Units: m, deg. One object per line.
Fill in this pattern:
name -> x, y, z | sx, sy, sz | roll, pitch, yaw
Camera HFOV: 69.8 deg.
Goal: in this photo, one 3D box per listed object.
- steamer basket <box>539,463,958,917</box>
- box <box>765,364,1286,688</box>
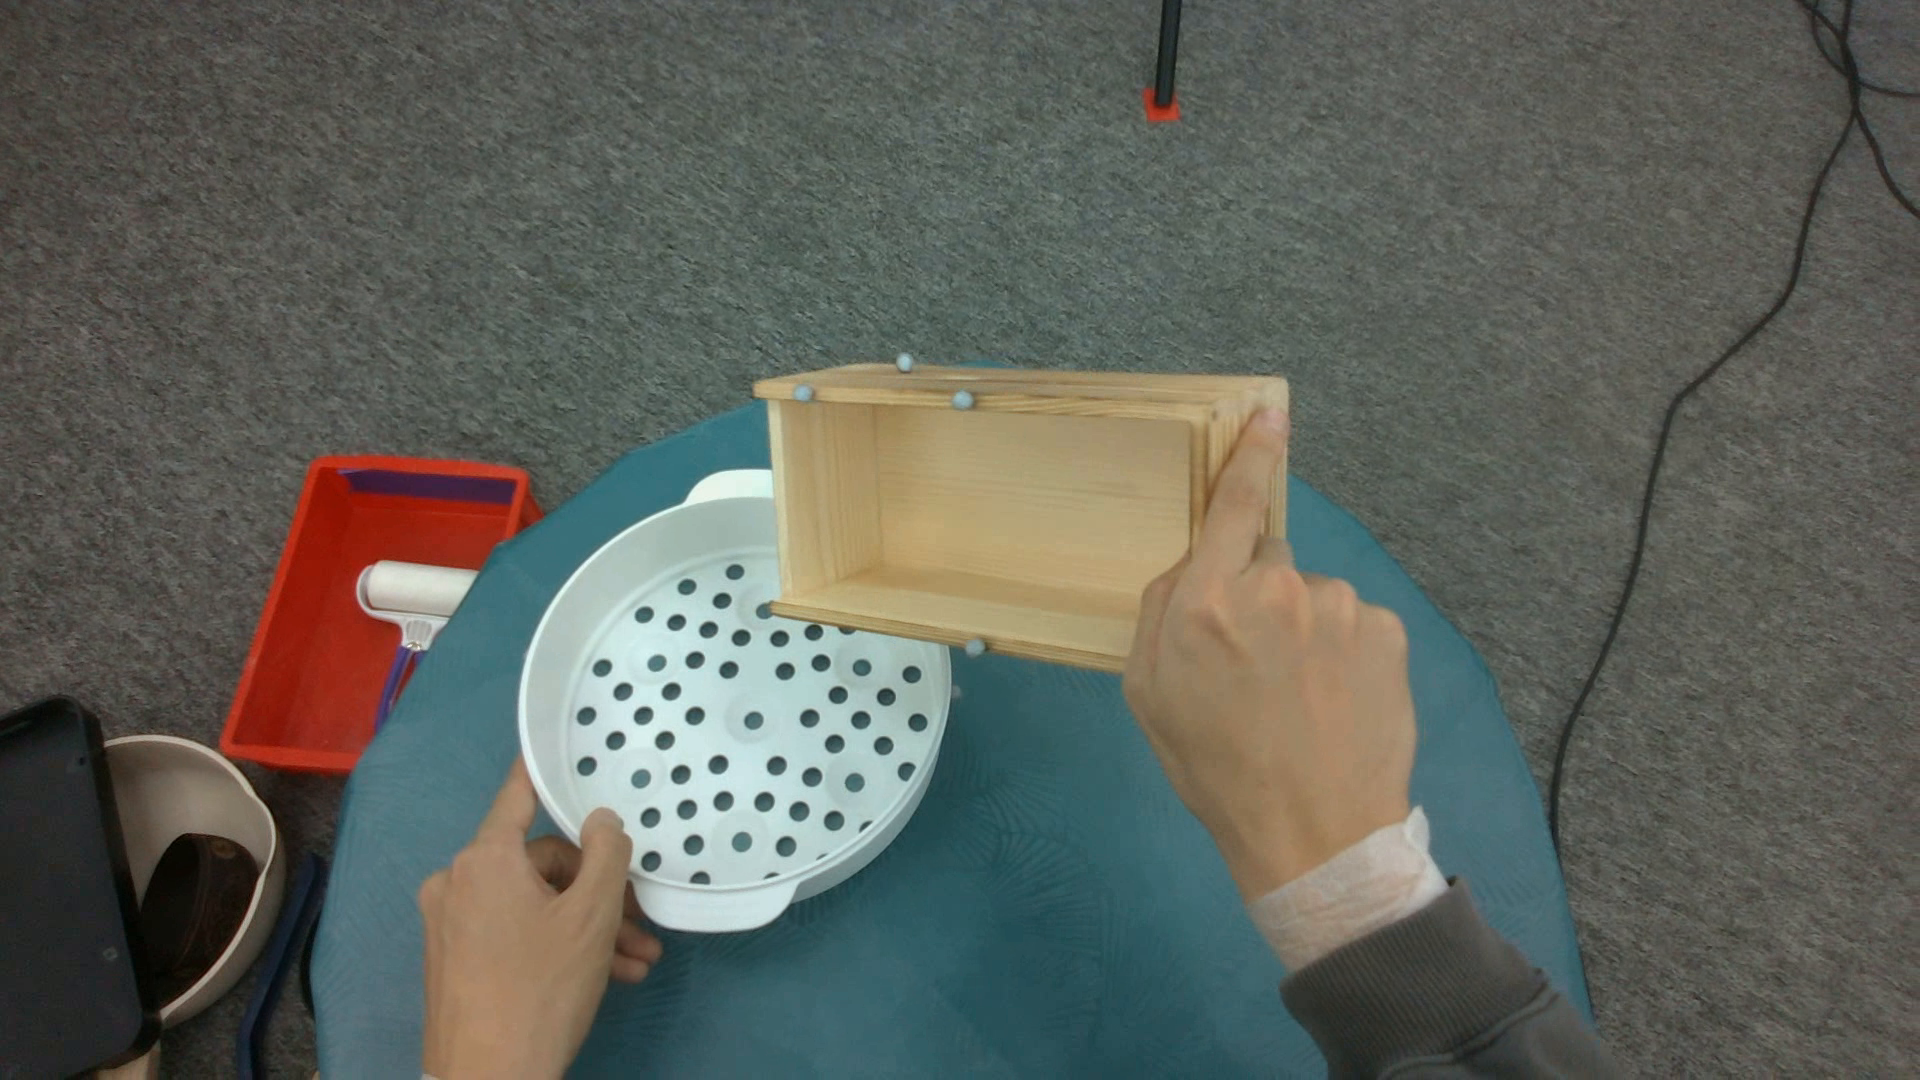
steamer basket -> -0.102, 0.076, 0.689 | 0.202, 0.069, 0.231 | 2, 64, 1
box -> 0.025, -0.015, 0.589 | 0.211, 0.107, 0.080 | 6, 17, 34
